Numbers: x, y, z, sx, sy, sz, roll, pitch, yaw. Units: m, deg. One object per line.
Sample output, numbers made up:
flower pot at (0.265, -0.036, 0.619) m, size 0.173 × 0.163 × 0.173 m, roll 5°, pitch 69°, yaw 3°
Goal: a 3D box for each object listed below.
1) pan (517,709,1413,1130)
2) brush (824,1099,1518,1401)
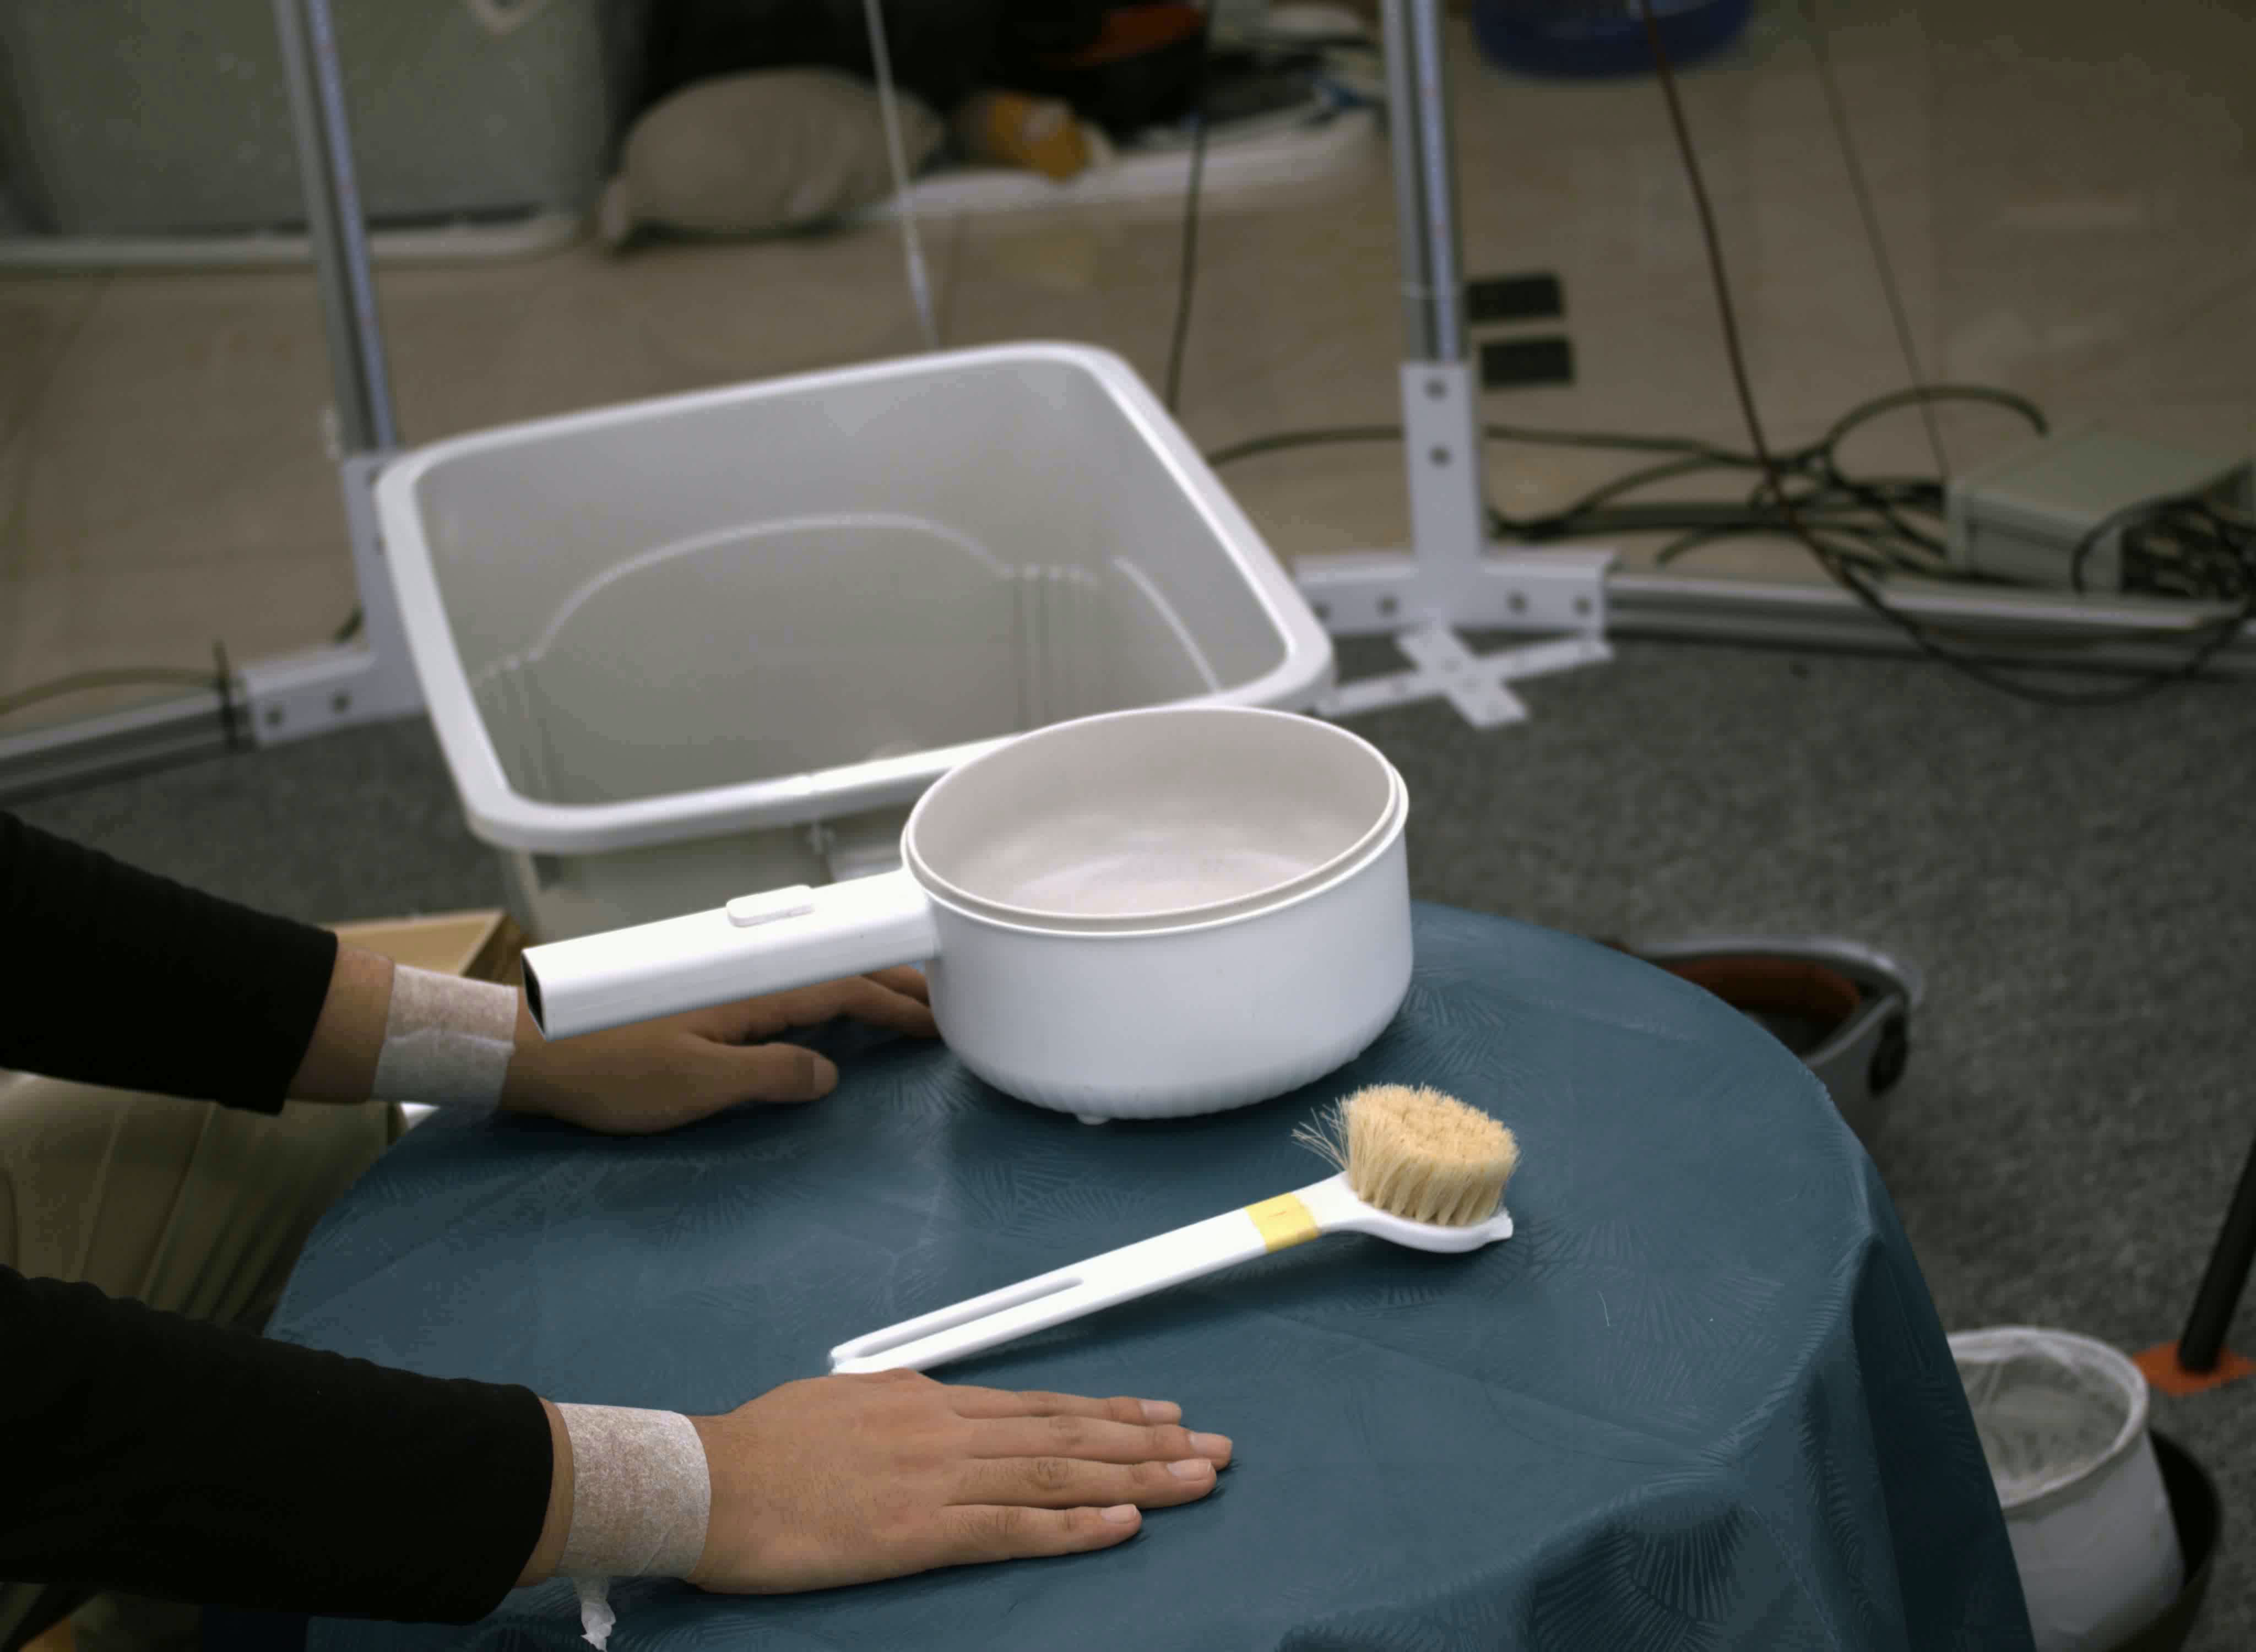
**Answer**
pan at (-0.058, 0.057, 2.222) m, size 0.353 × 0.104 × 0.198 m, roll -14°, pitch 27°, yaw -13°
brush at (0.015, 0.151, 2.054) m, size 0.266 × 0.057 × 0.068 m, roll -13°, pitch 22°, yaw -11°
